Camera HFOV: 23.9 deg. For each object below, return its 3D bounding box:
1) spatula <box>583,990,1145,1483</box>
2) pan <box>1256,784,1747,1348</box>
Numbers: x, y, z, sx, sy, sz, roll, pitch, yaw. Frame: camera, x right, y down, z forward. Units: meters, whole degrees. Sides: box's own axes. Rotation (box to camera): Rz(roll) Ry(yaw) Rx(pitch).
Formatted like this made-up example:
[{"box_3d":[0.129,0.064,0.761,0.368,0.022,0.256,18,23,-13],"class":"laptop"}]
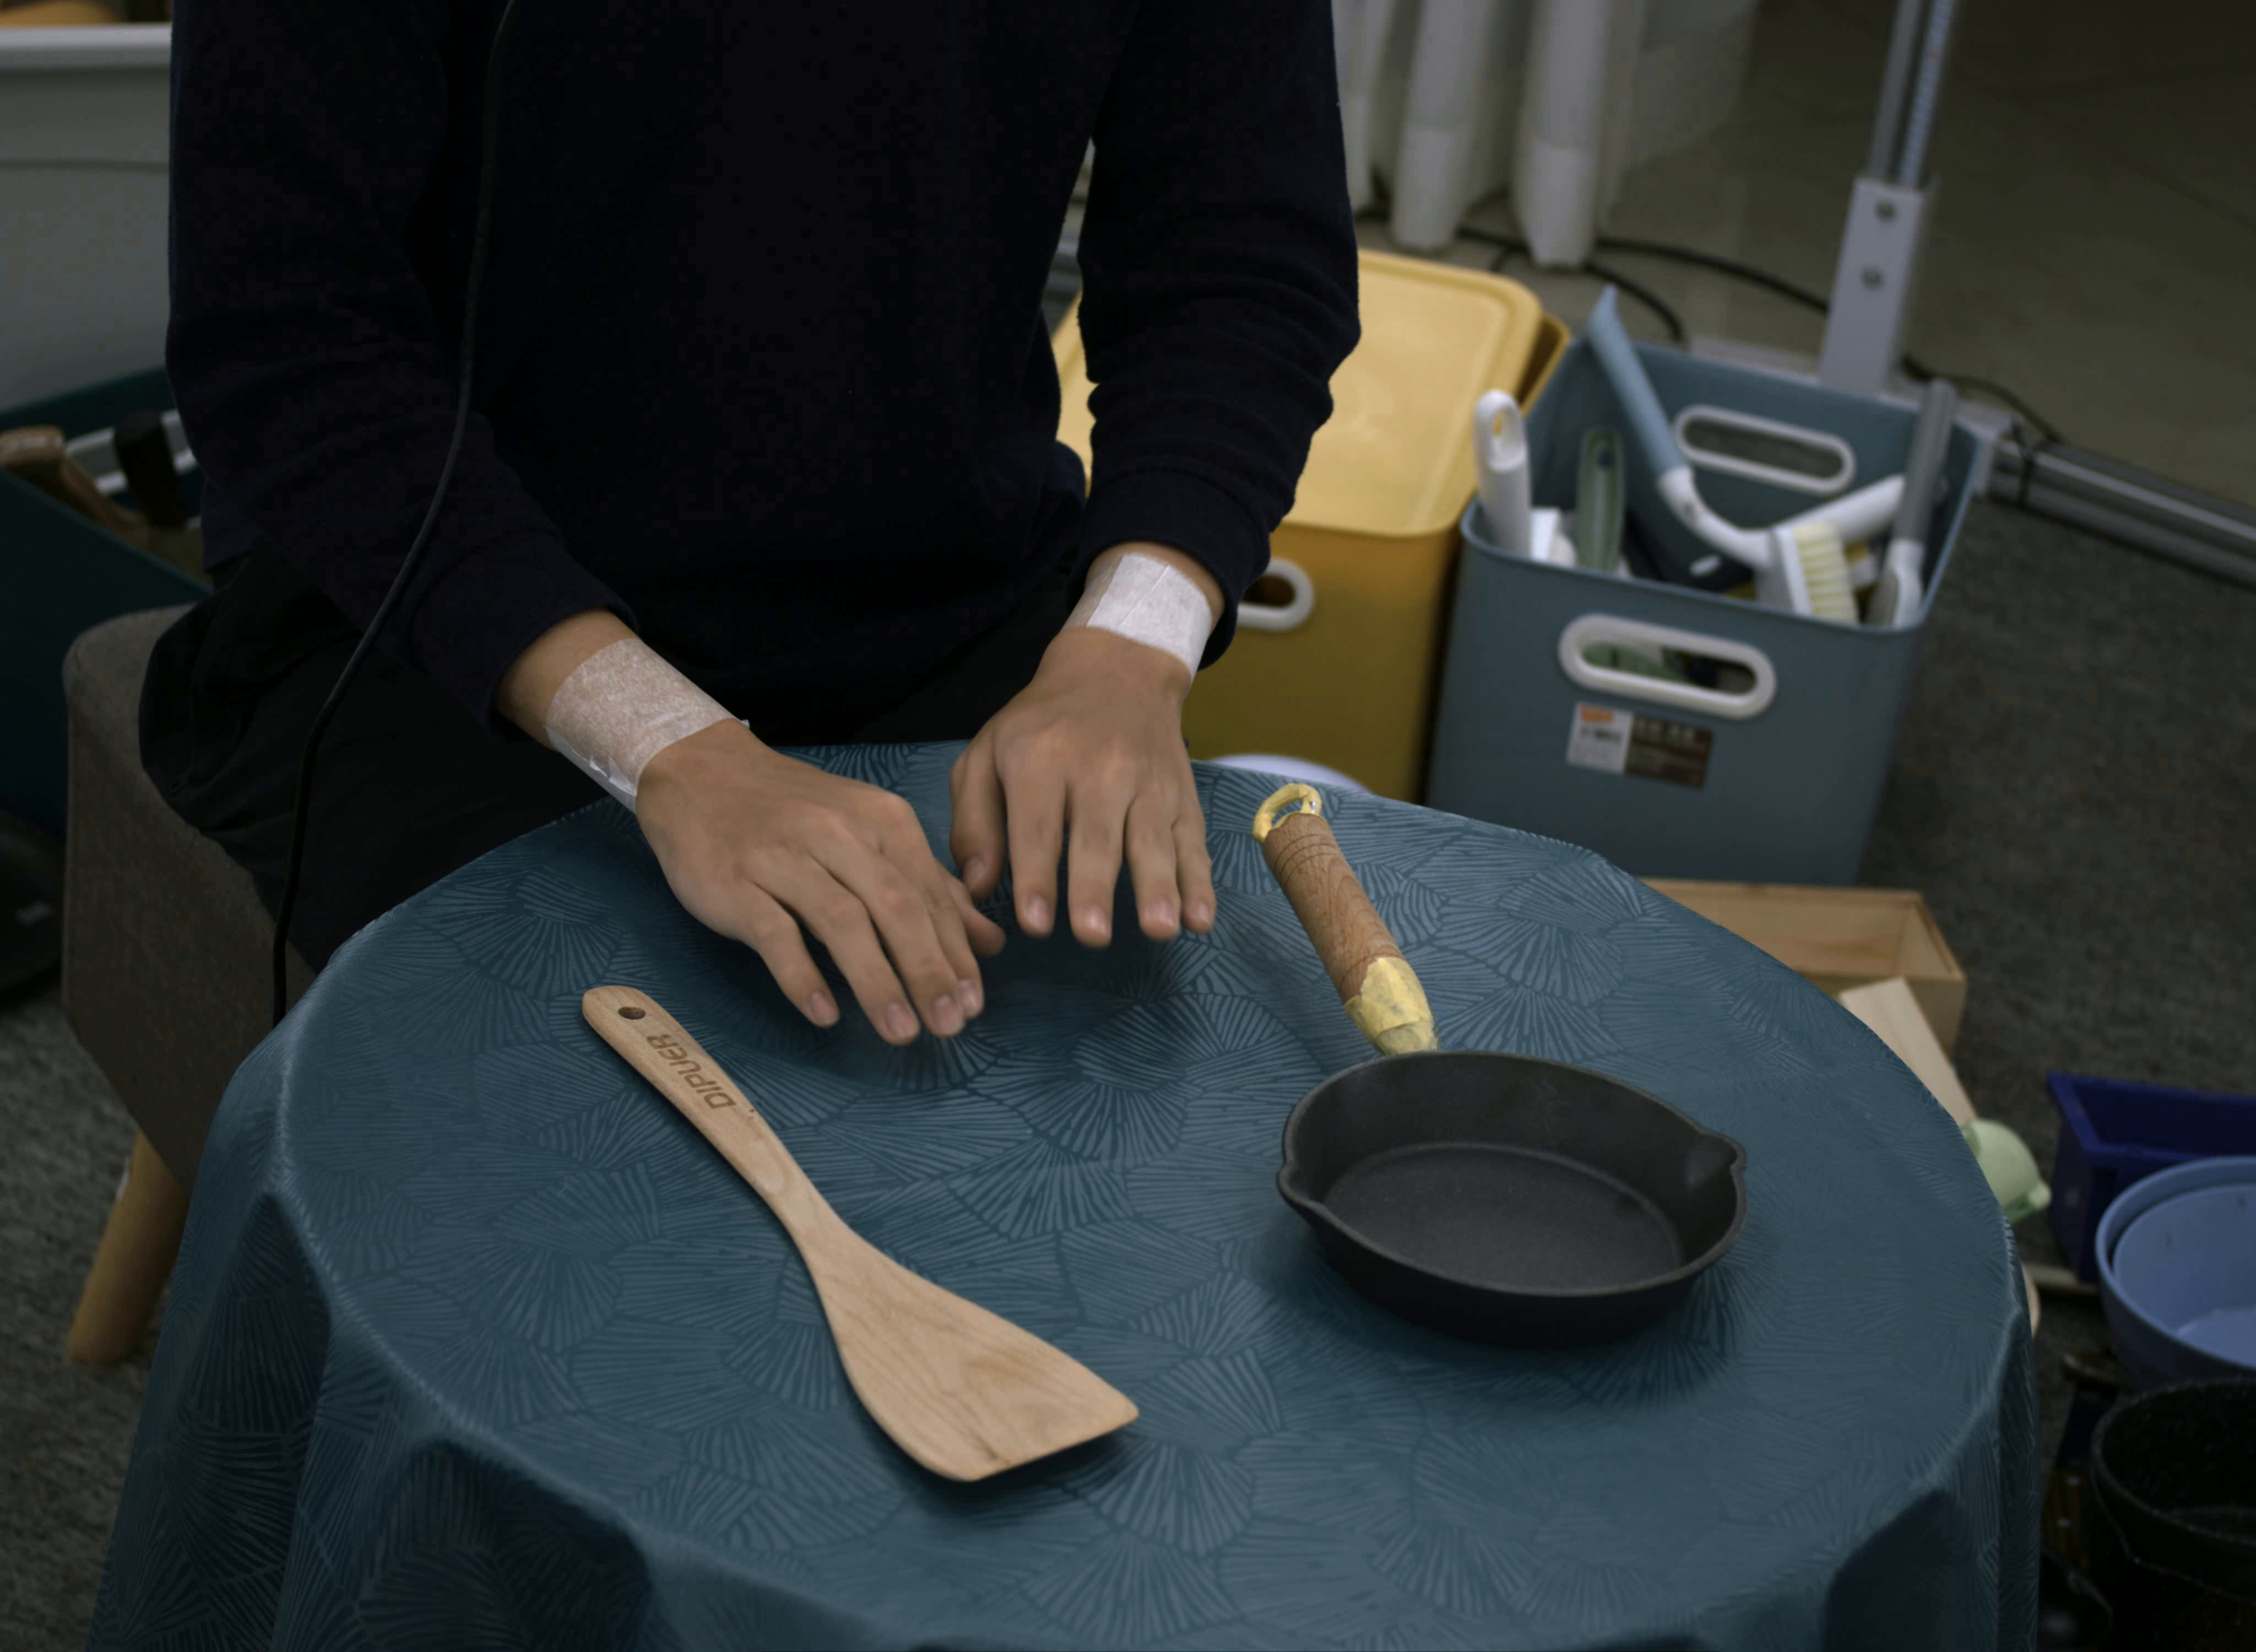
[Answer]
[{"box_3d":[-0.101,0.128,1.754,0.079,0.016,0.330,-9,31,-29],"class":"spatula"},{"box_3d":[0.104,0.081,1.854,0.168,0.049,0.327,-3,30,-17],"class":"pan"}]
